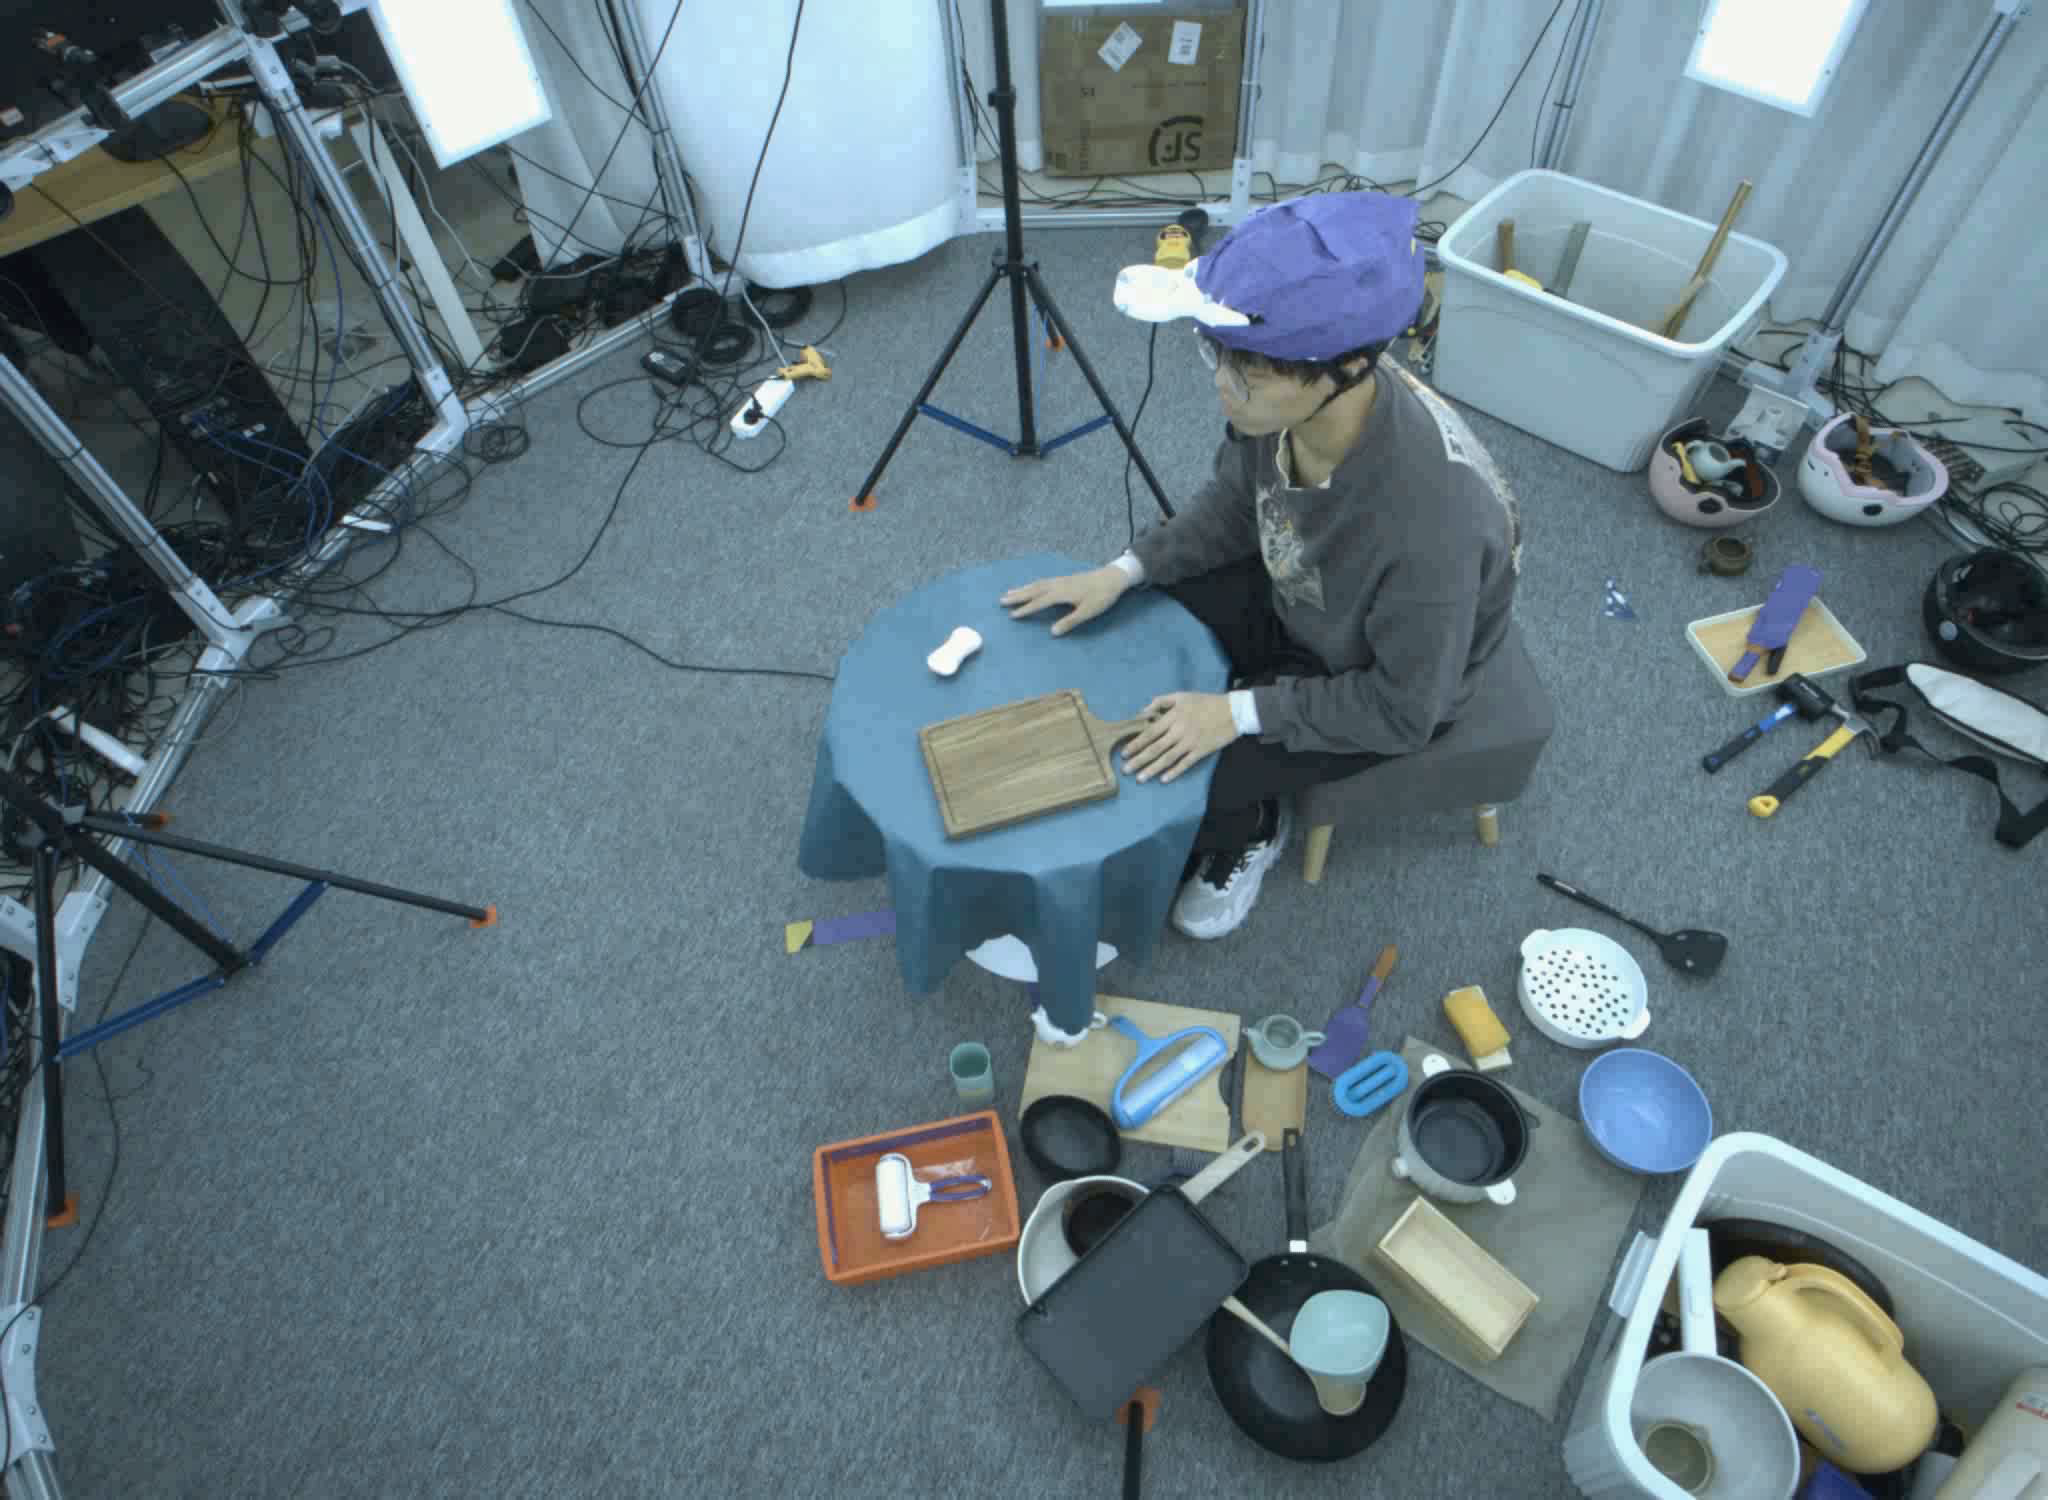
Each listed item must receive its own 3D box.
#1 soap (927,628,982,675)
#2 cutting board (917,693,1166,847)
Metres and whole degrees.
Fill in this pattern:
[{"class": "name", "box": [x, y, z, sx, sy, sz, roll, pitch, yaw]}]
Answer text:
[{"class": "soap", "box": [-0.107, -0.151, 1.880, 0.049, 0.031, 0.095, 31, 59, 22]}, {"class": "cutting board", "box": [0.036, 0.012, 1.762, 0.354, 0.023, 0.198, -14, 55, -8]}]
